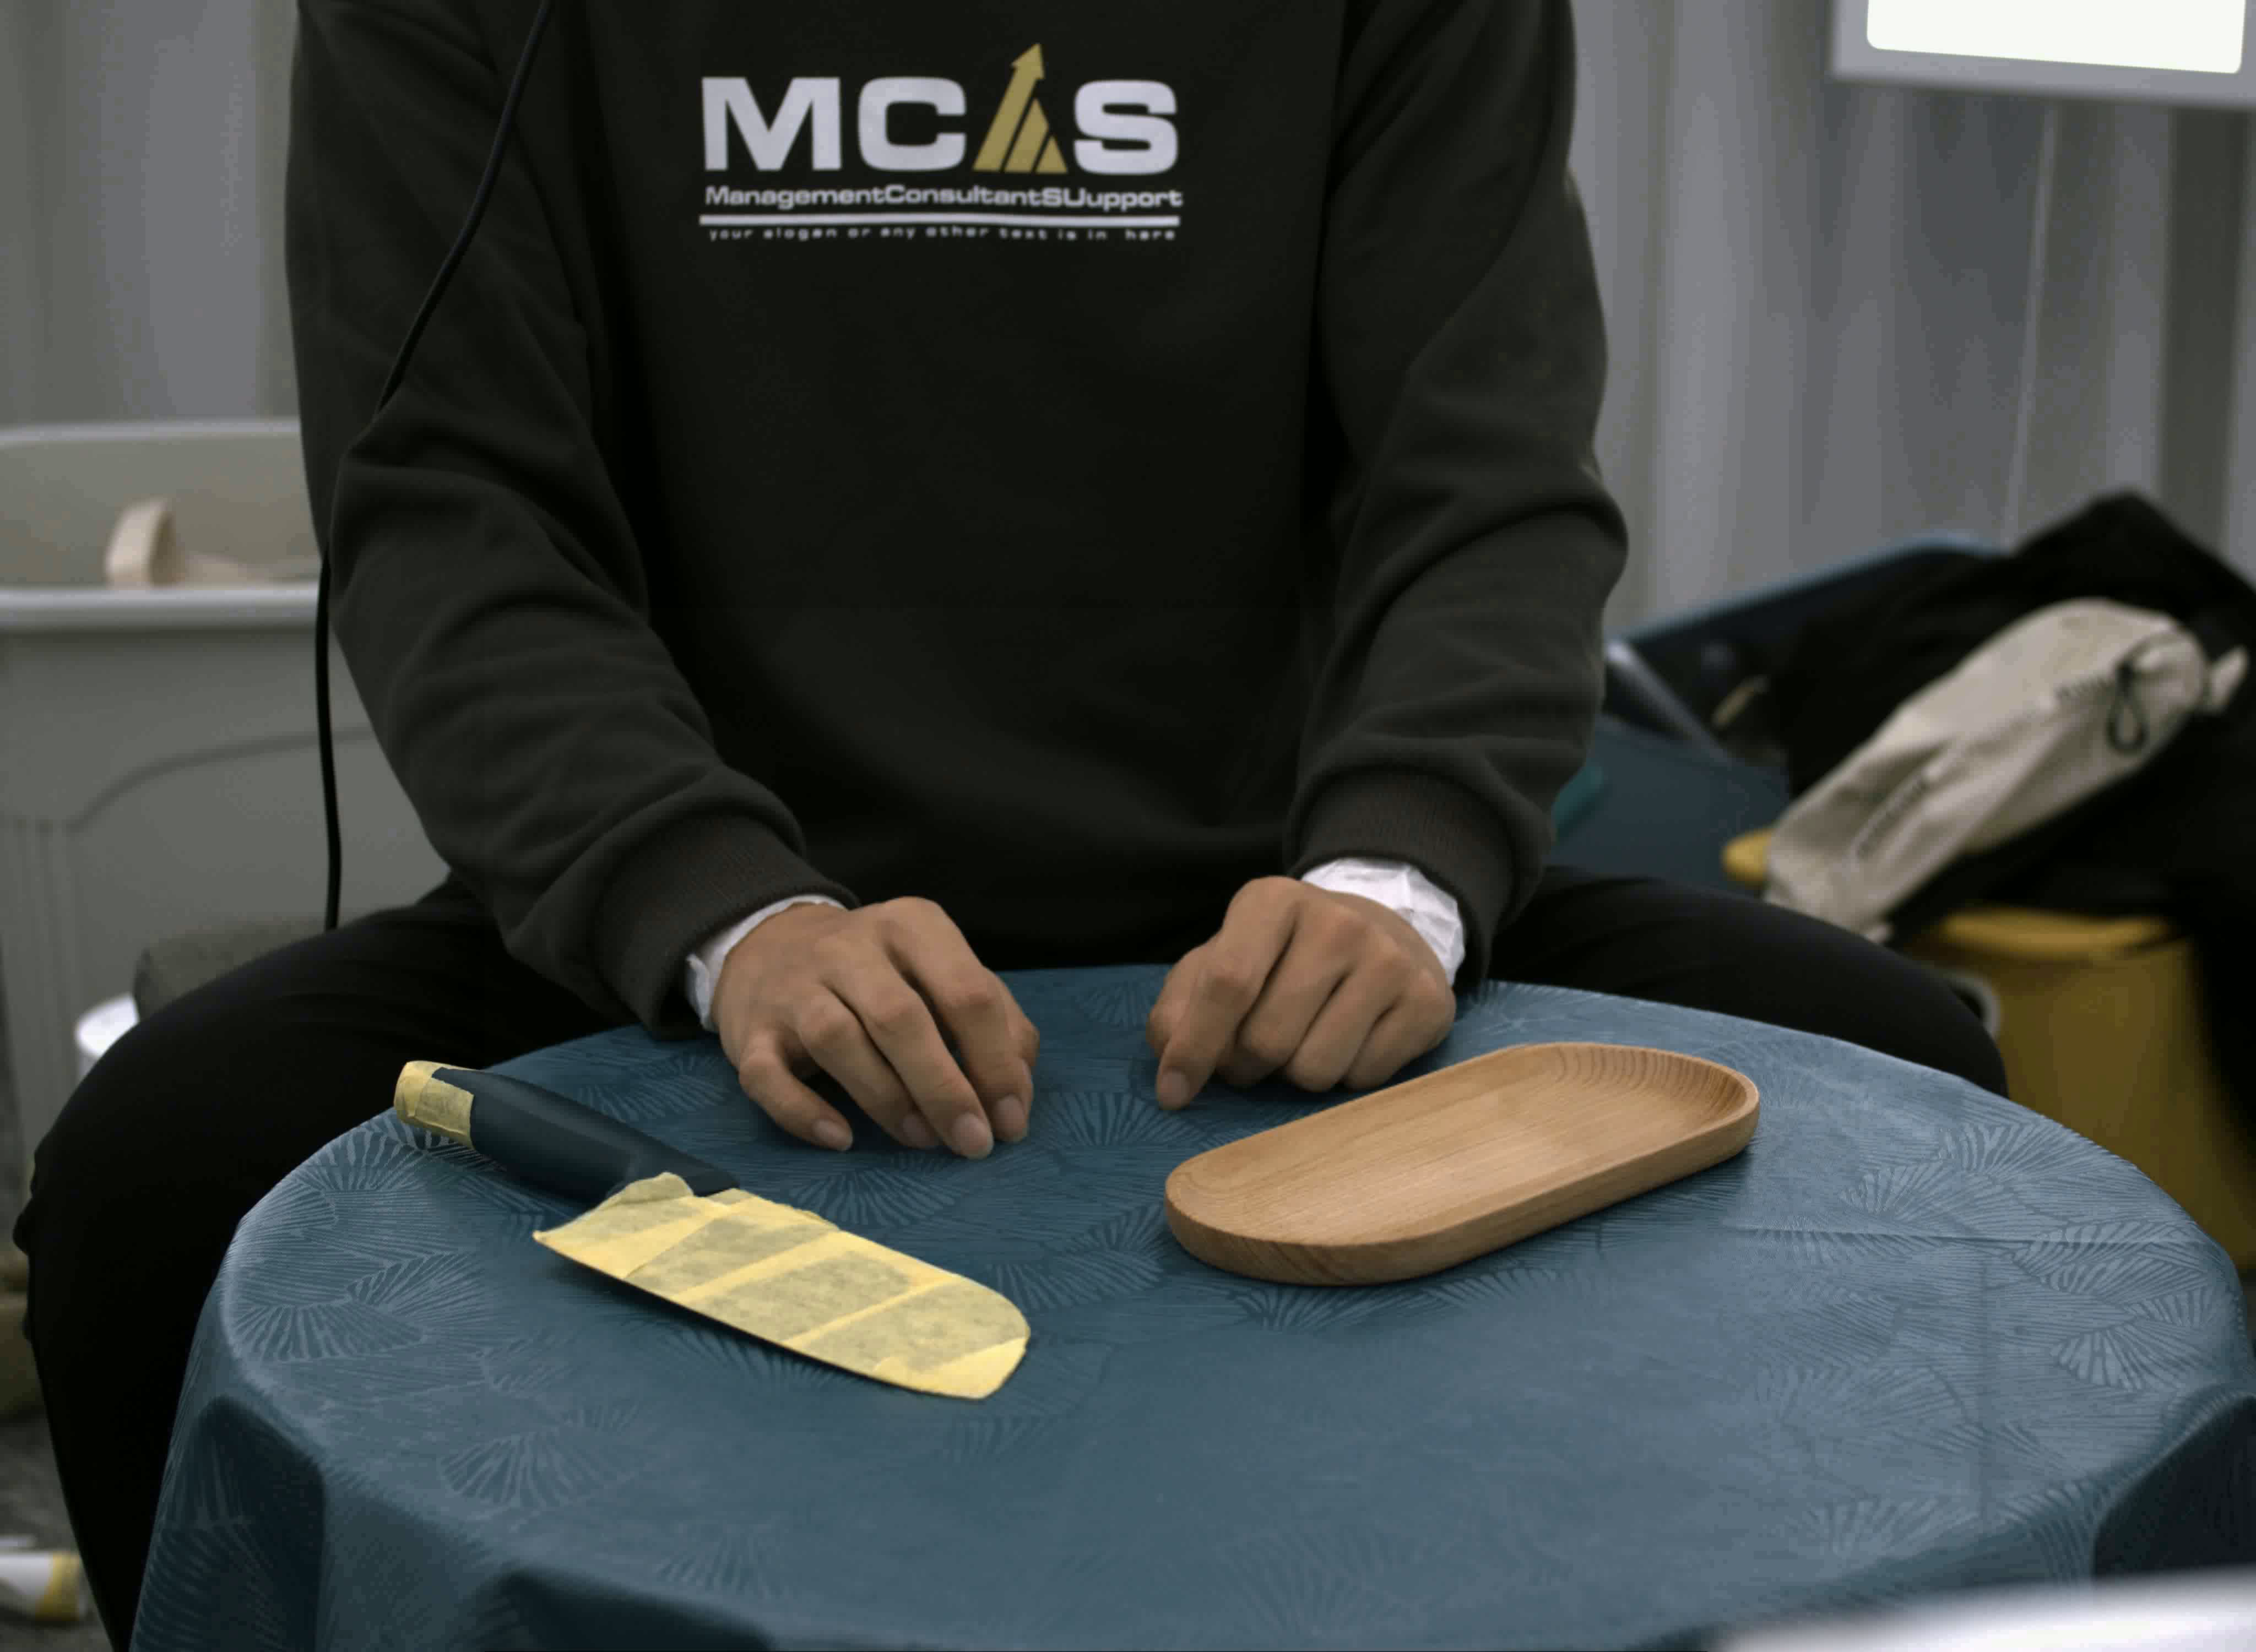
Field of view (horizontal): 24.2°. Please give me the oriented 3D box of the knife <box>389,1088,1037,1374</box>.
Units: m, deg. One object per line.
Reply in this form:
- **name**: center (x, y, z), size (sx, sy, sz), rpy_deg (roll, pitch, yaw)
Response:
- **knife**: center (-0.134, 0.122, 1.560), size (0.285, 0.027, 0.081), rpy_deg (16, 20, 42)

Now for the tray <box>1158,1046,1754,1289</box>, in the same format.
- **tray**: center (0.104, 0.104, 1.629), size (0.100, 0.020, 0.232), rpy_deg (12, 20, 41)
